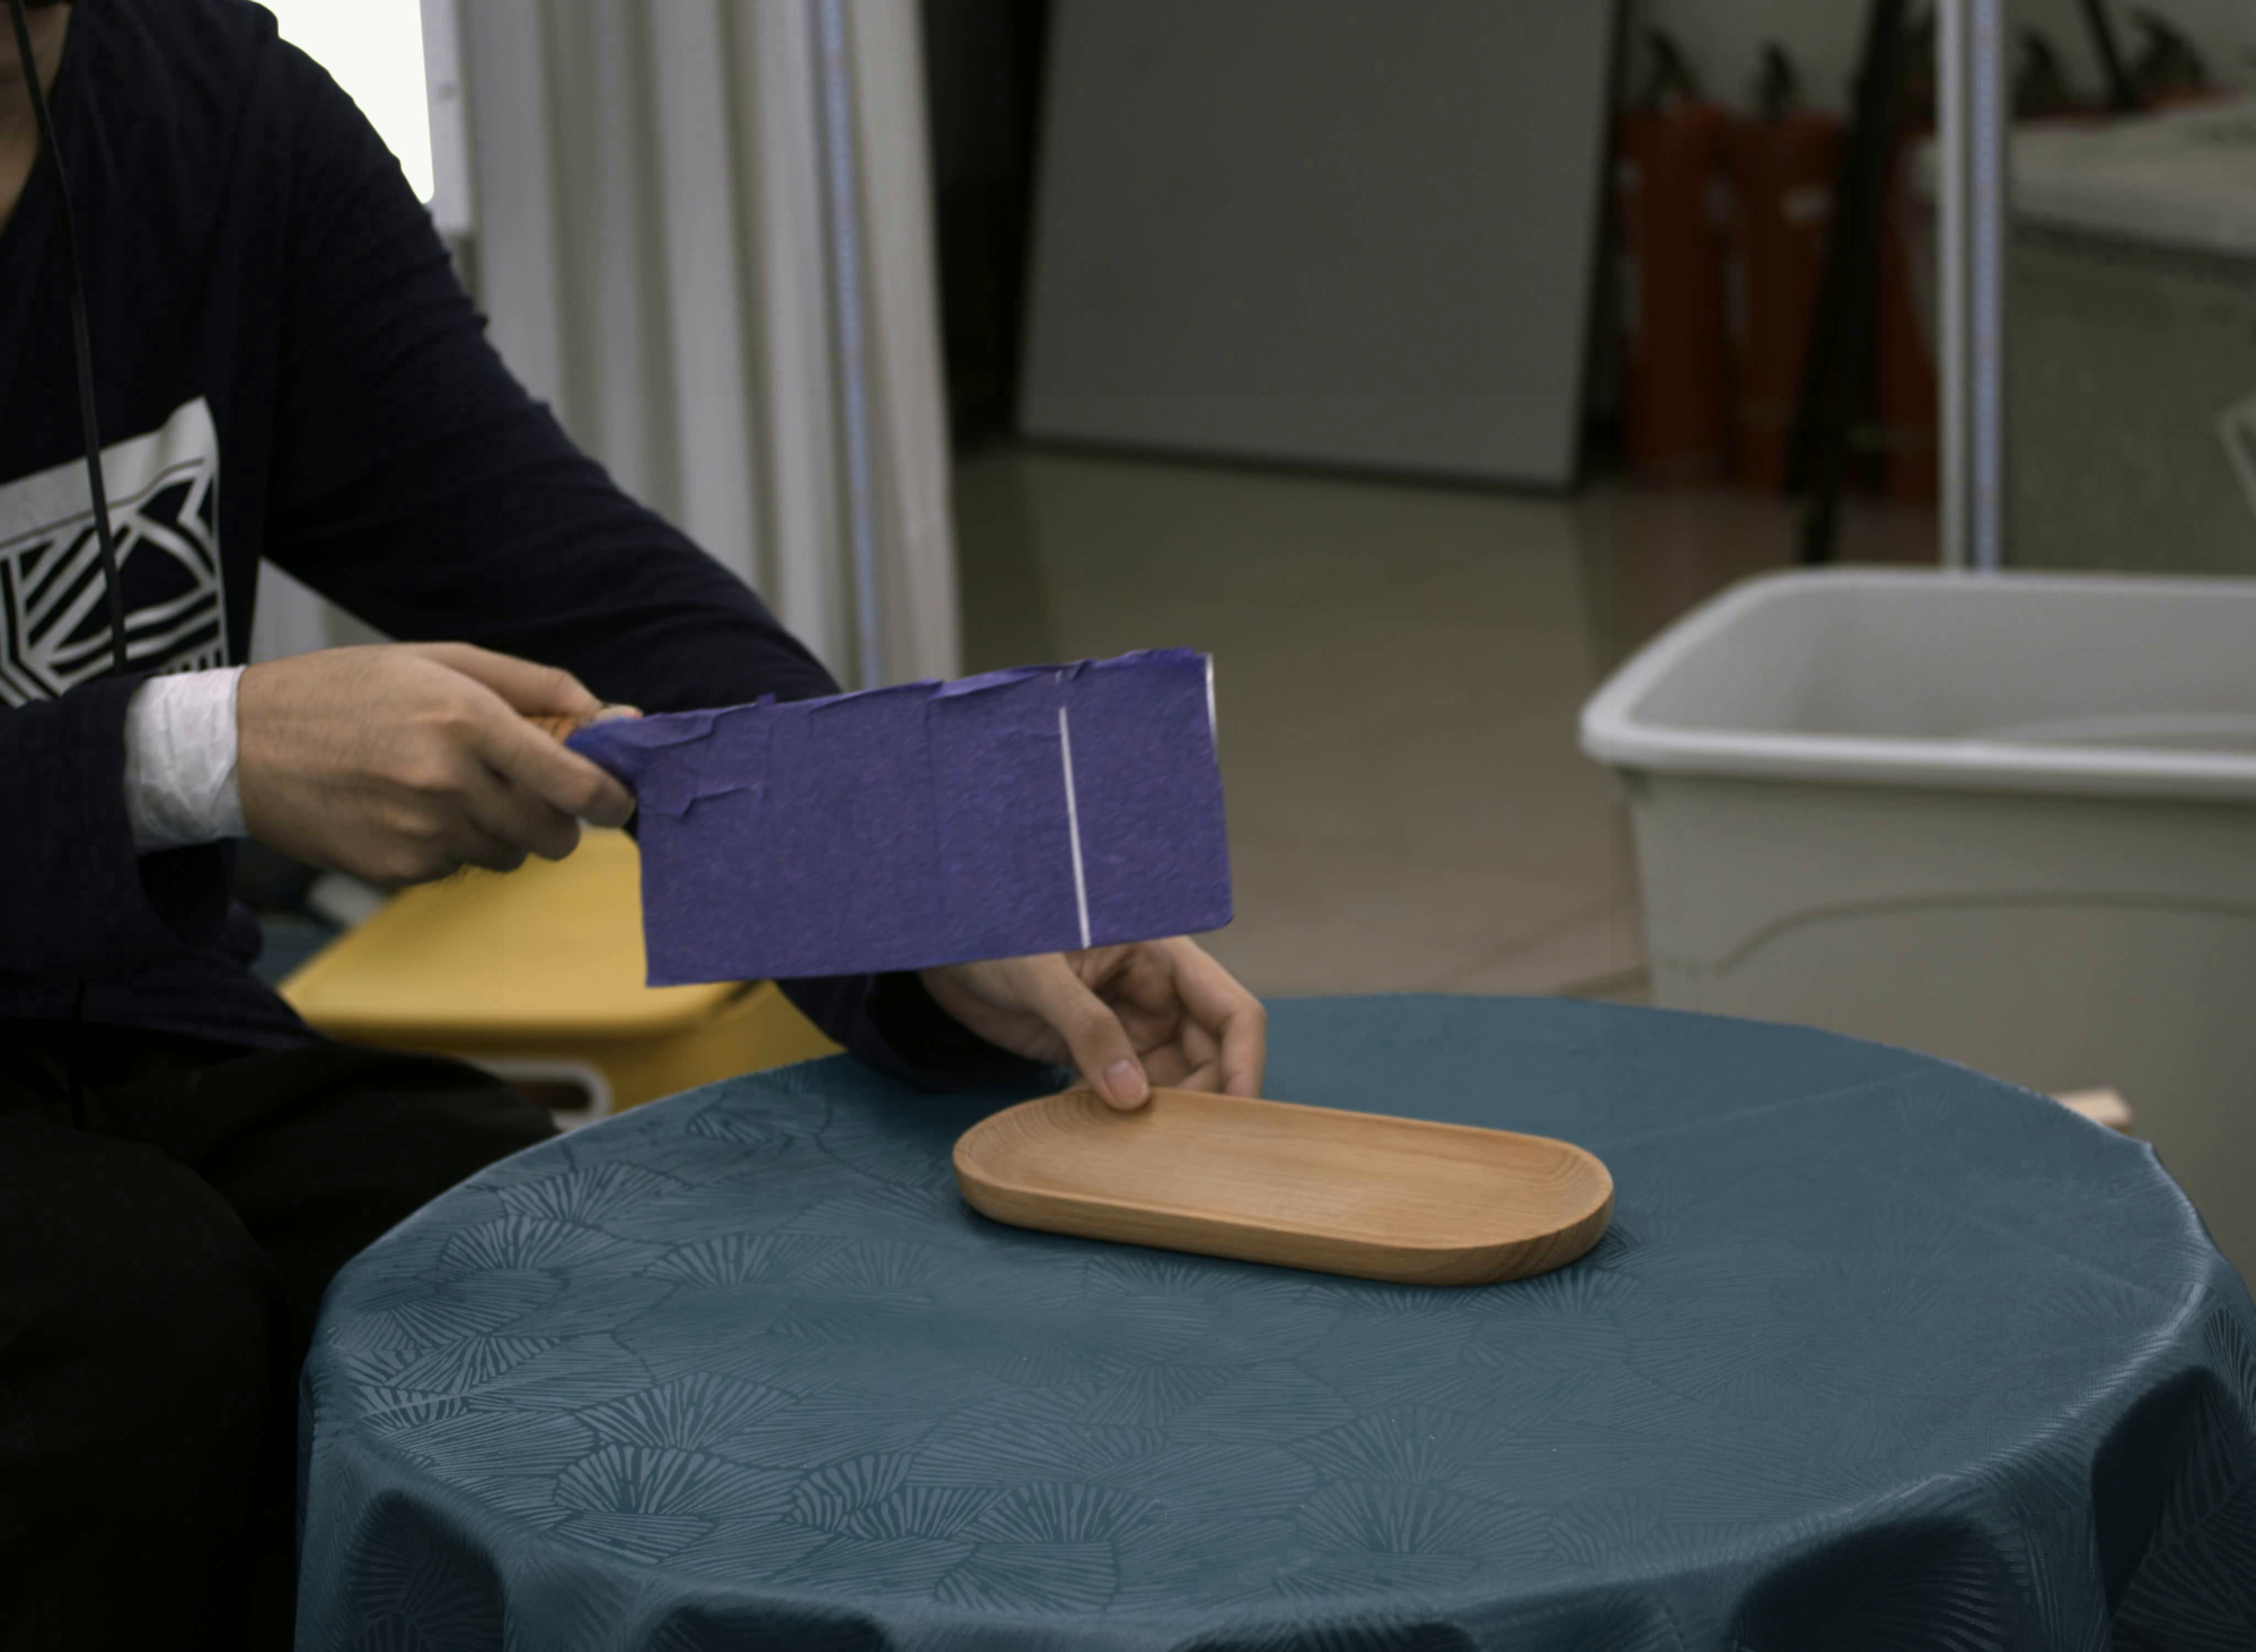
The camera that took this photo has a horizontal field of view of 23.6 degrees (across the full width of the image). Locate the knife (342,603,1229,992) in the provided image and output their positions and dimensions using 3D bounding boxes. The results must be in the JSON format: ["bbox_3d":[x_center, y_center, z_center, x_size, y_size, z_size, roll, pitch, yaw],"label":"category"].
[{"bbox_3d":[-0.114,0.002,1.729,0.316,0.105,0.031,-9,-10,27],"label":"knife"}]

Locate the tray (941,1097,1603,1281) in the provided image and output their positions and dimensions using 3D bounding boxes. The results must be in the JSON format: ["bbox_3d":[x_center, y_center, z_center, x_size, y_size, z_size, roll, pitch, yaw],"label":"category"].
[{"bbox_3d":[0.045,0.117,1.737,0.232,0.020,0.100,2,17,31],"label":"tray"}]
